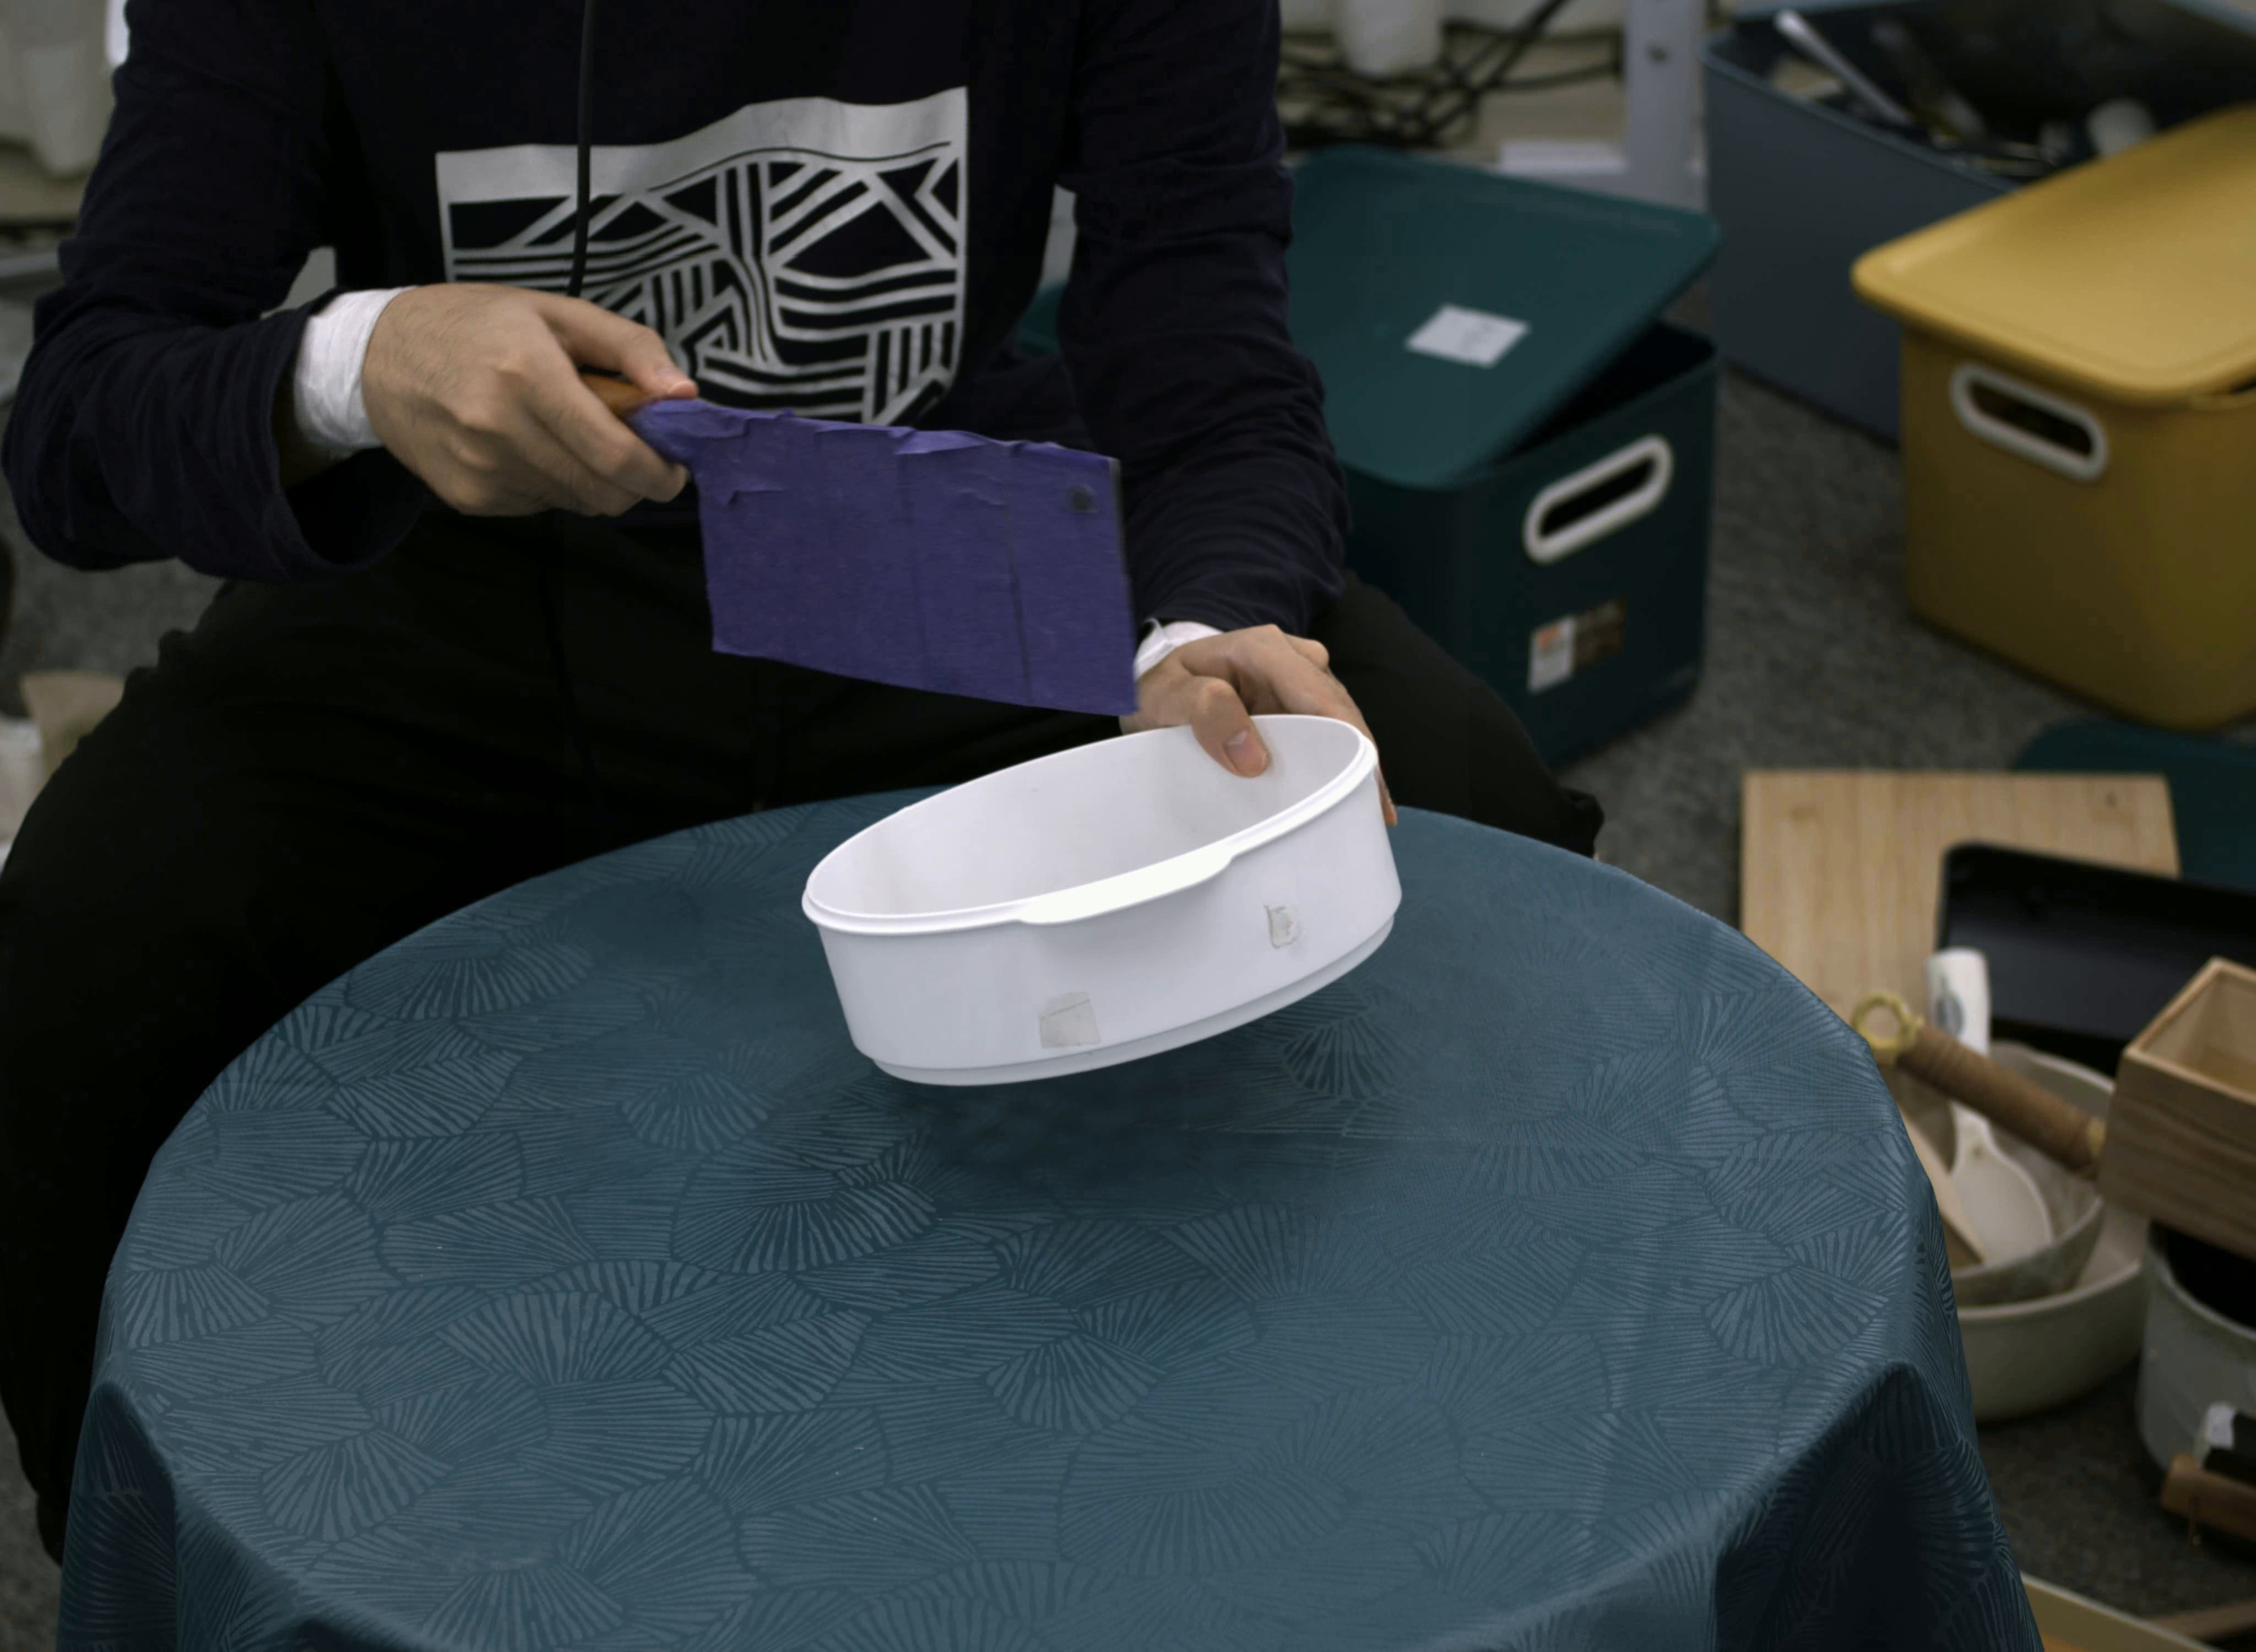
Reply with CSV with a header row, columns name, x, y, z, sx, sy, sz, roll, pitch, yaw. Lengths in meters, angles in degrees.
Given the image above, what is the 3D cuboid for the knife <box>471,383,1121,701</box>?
name,x,y,z,sx,sy,sz,roll,pitch,yaw
knife,-0.118,-0.098,1.923,0.032,0.103,0.313,-15,16,-41

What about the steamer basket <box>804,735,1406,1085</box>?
name,x,y,z,sx,sy,sz,roll,pitch,yaw
steamer basket,-0.005,0.029,1.895,0.201,0.069,0.231,-15,10,-5
